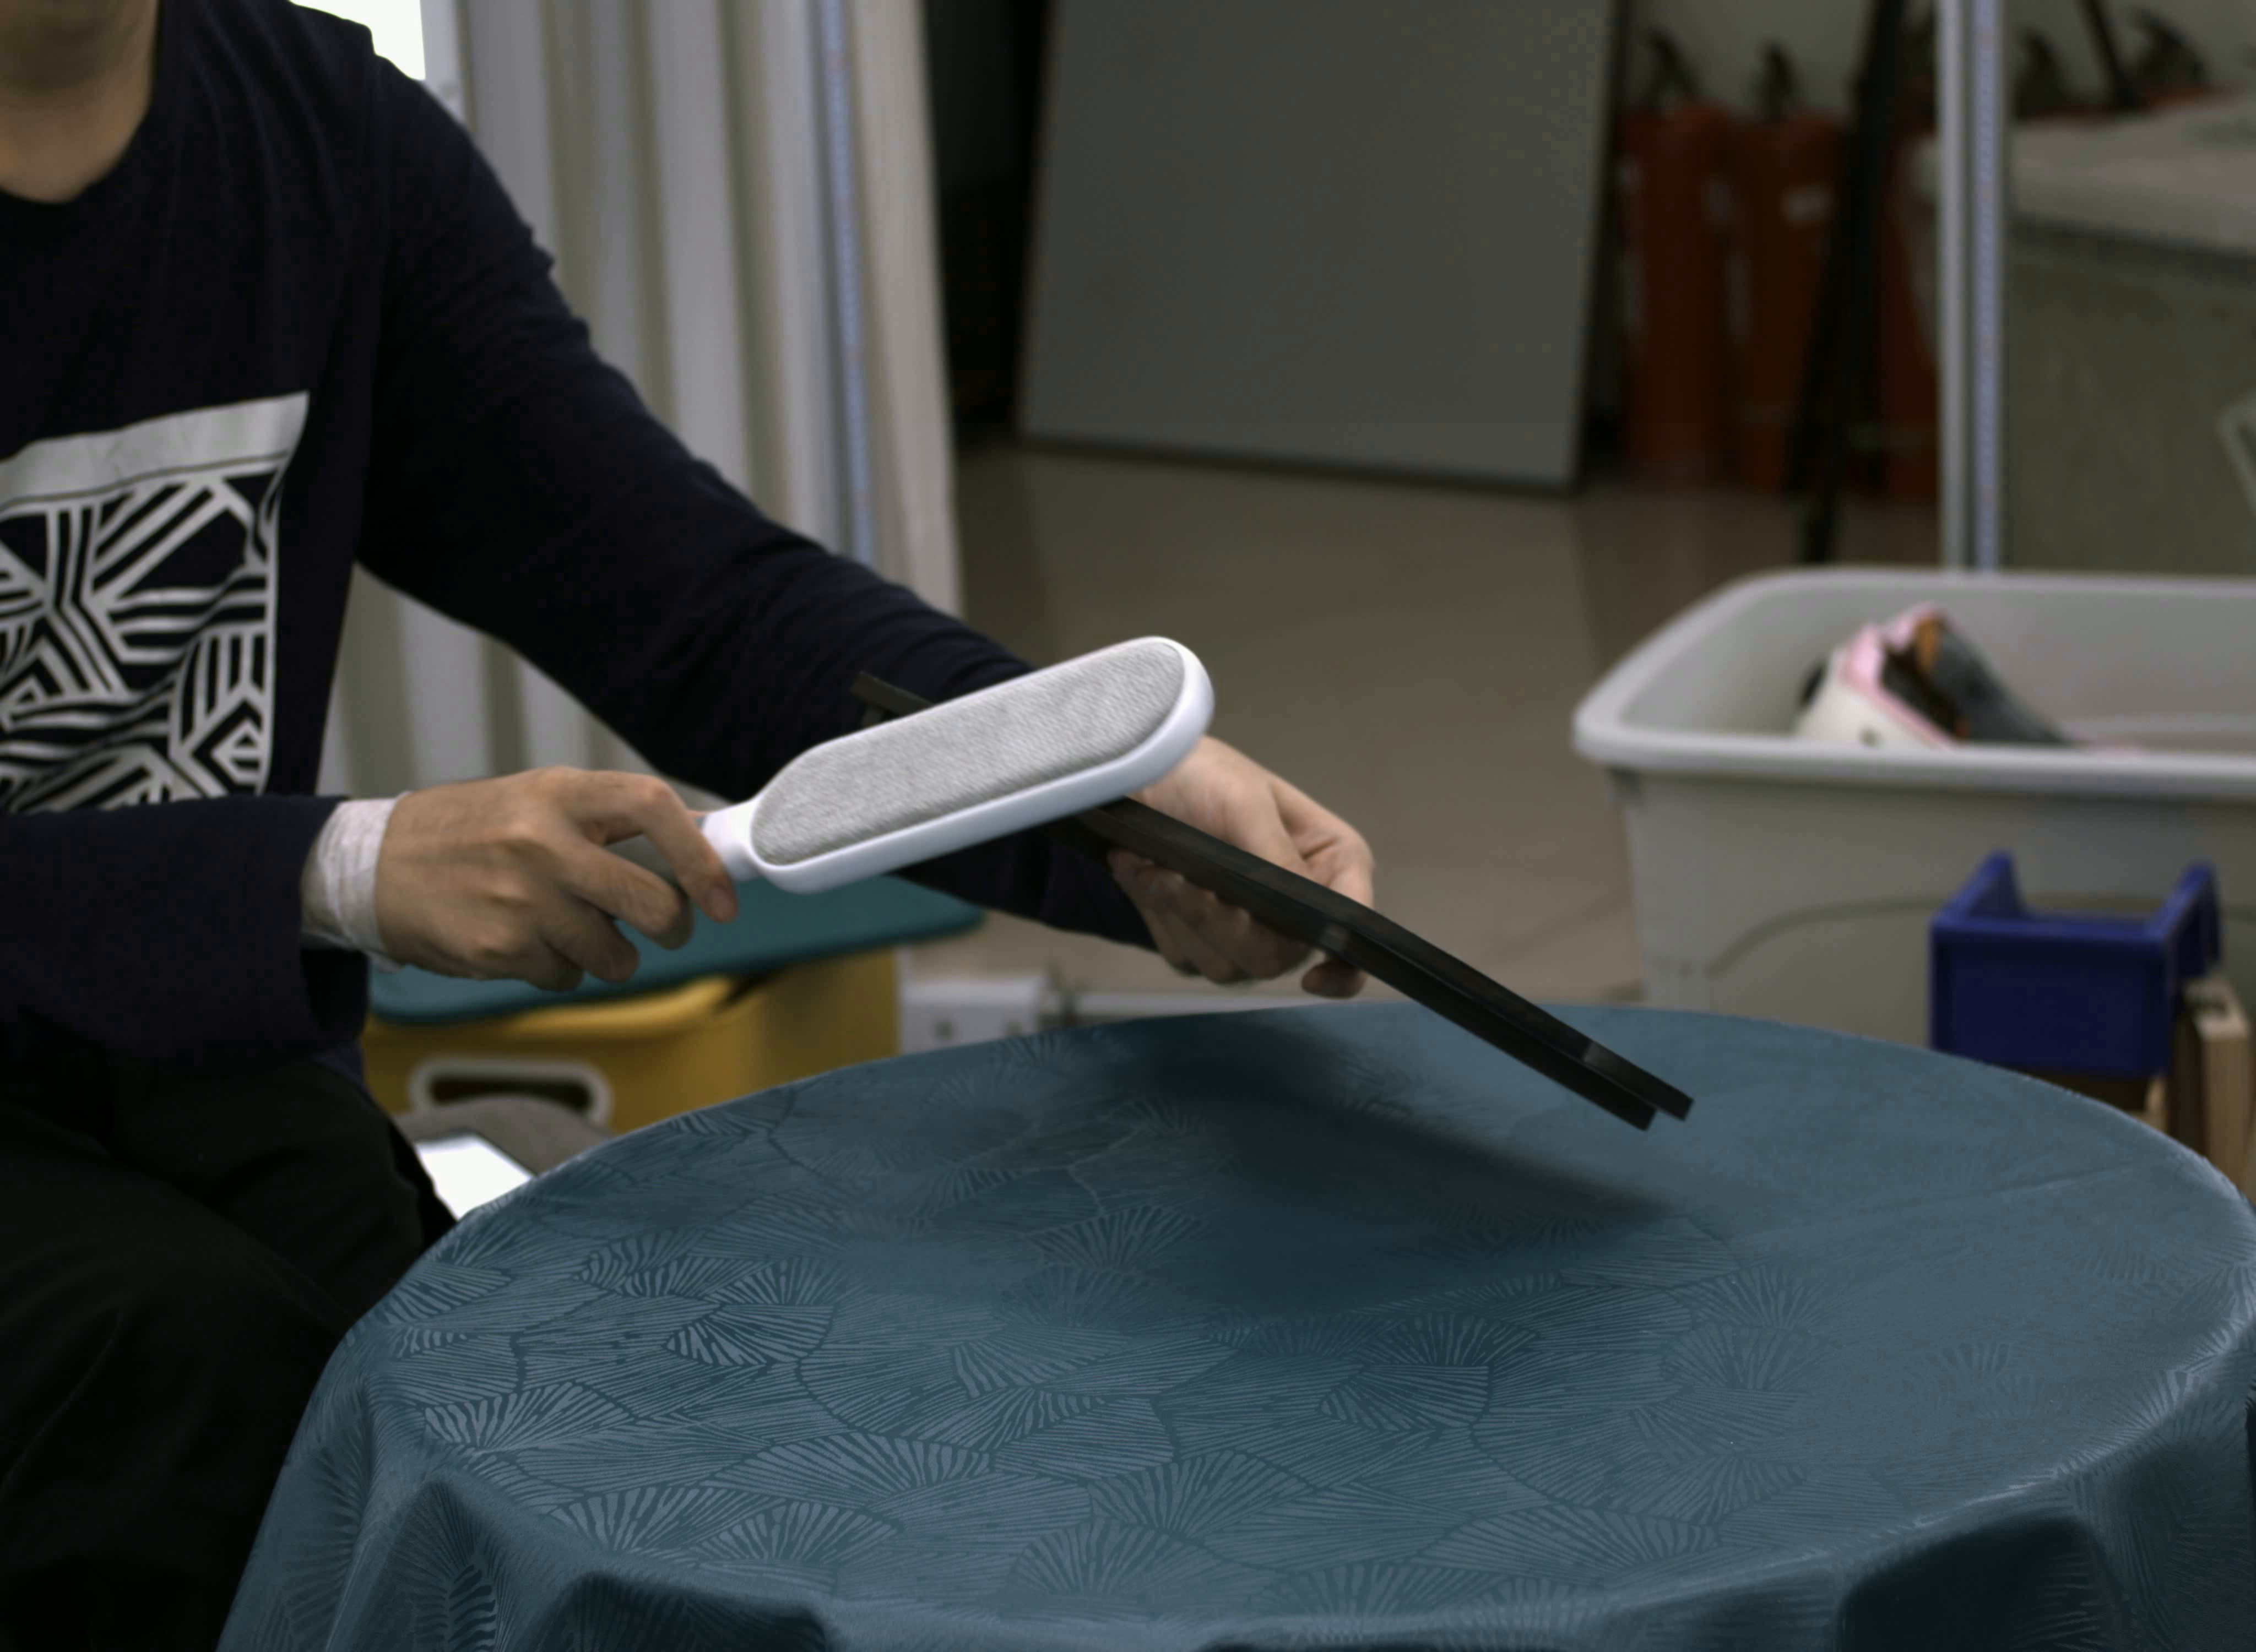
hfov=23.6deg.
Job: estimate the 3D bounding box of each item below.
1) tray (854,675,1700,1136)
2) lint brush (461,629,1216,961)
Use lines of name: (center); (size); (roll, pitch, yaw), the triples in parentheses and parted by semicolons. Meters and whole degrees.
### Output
tray: (0.043, 0.026, 1.786); (0.167, 0.019, 0.309); (31, -4, -38)
lint brush: (-0.100, -0.005, 1.787); (0.310, 0.020, 0.060); (-18, 48, 31)
